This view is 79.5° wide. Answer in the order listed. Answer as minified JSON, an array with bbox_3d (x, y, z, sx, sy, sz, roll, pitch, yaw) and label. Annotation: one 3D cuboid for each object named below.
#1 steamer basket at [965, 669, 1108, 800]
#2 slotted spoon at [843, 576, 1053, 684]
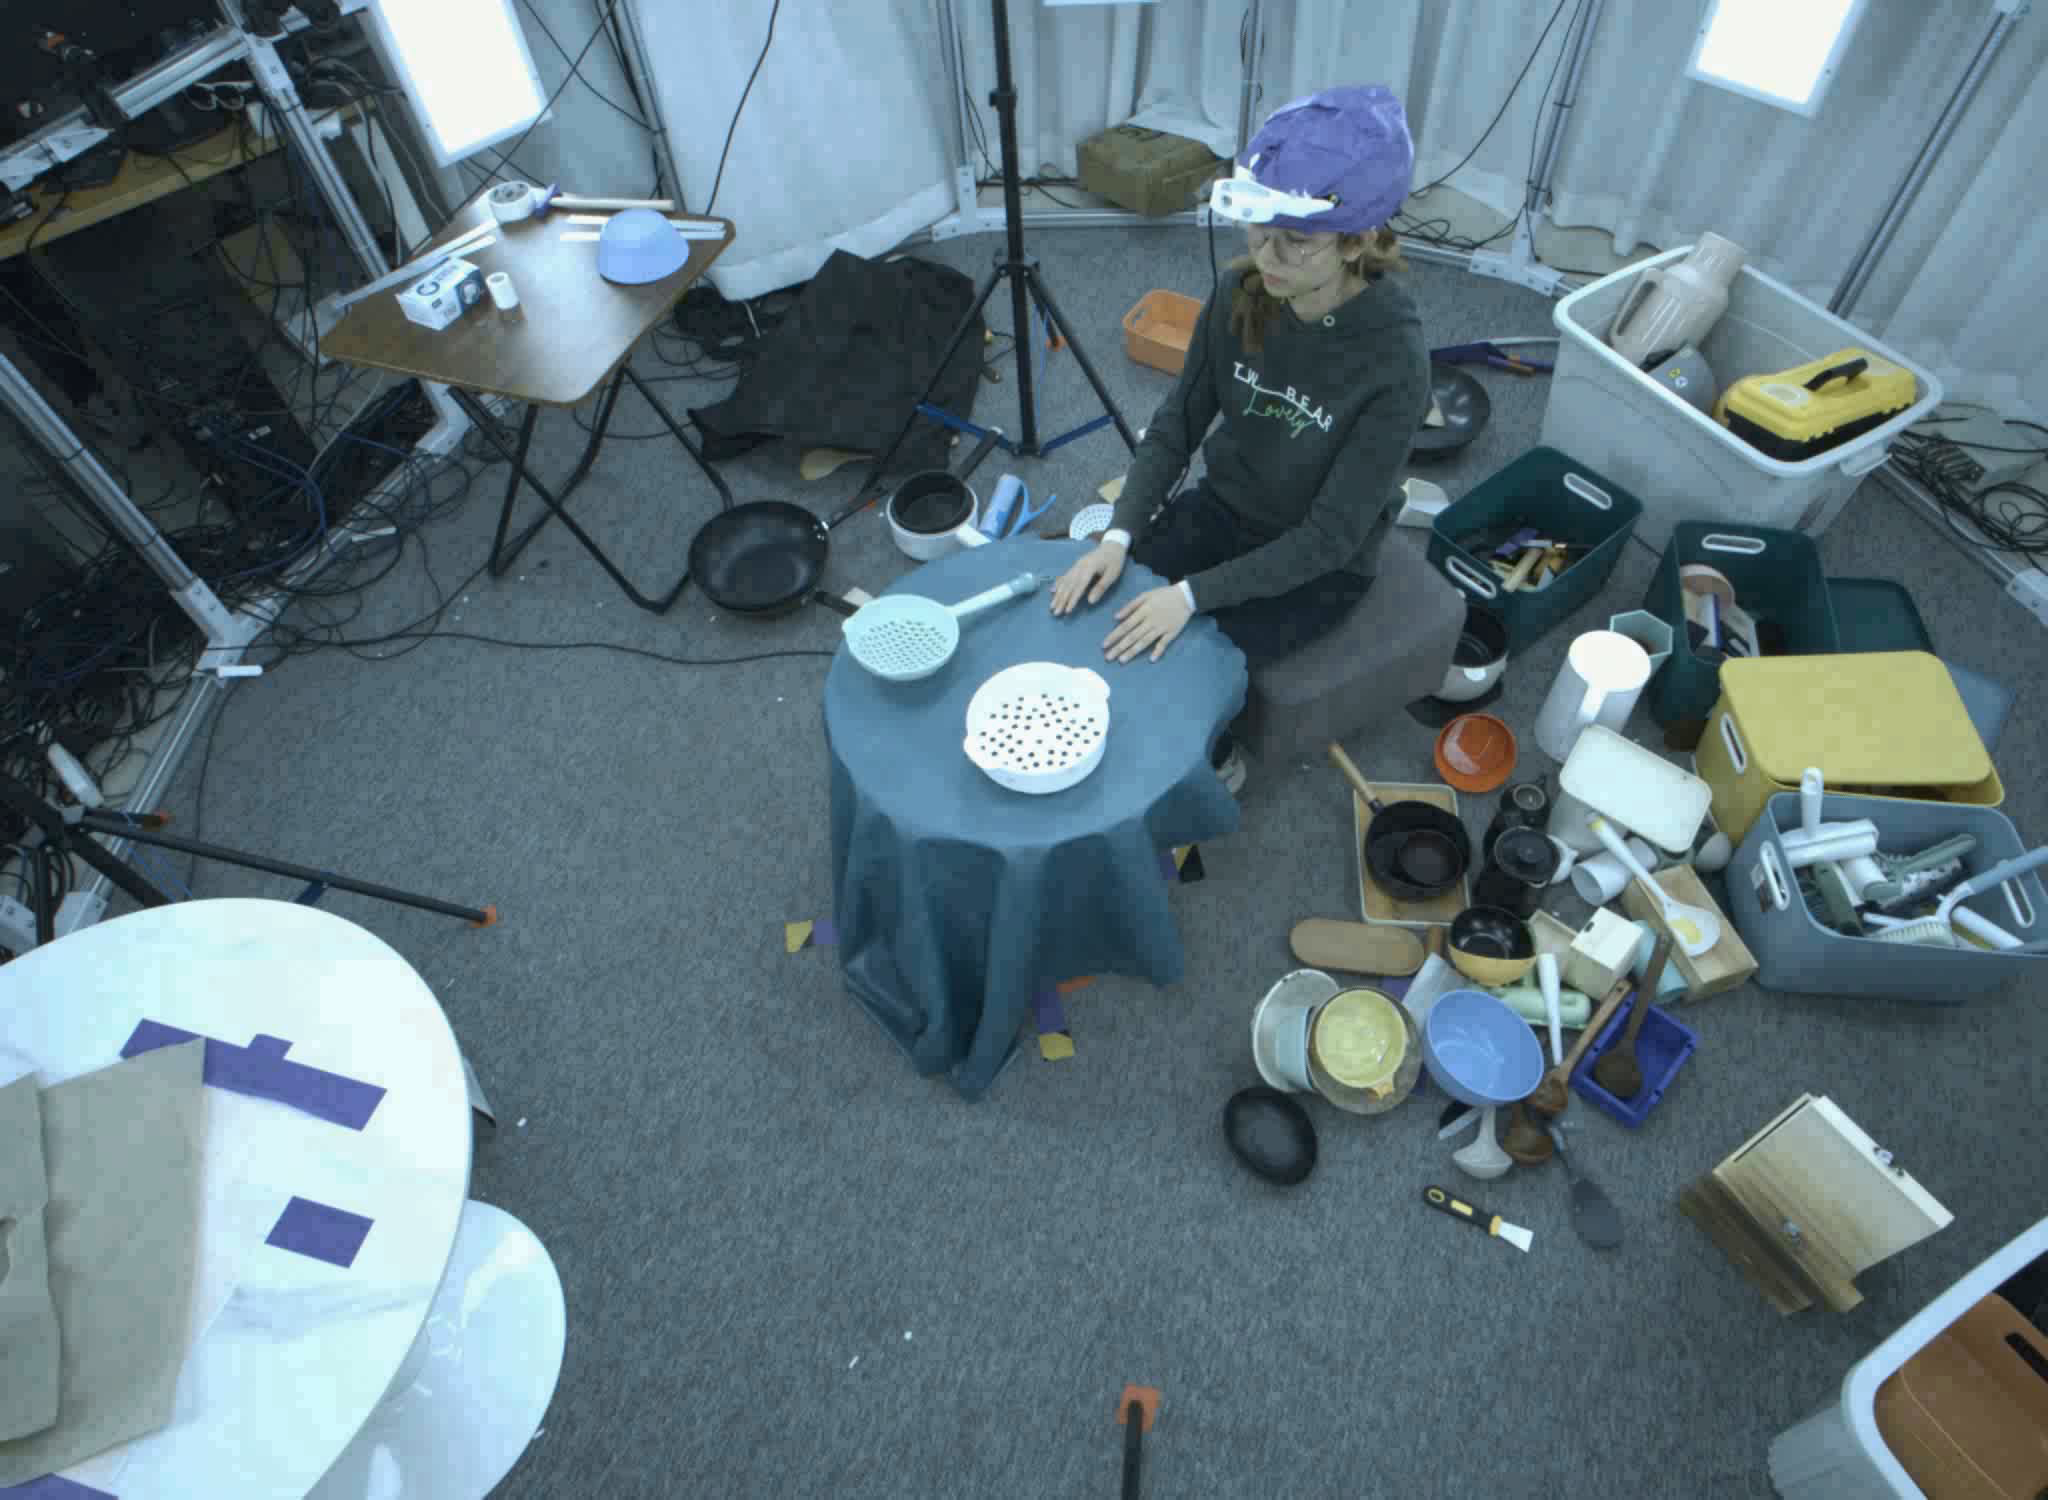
[{"bbox_3d":[0.020,-0.020,1.774,0.232,0.070,0.198,-33,62,-21],"label":"steamer basket"},{"bbox_3d":[-0.104,-0.206,1.906,0.362,0.076,0.166,-32,60,-19],"label":"slotted spoon"}]
